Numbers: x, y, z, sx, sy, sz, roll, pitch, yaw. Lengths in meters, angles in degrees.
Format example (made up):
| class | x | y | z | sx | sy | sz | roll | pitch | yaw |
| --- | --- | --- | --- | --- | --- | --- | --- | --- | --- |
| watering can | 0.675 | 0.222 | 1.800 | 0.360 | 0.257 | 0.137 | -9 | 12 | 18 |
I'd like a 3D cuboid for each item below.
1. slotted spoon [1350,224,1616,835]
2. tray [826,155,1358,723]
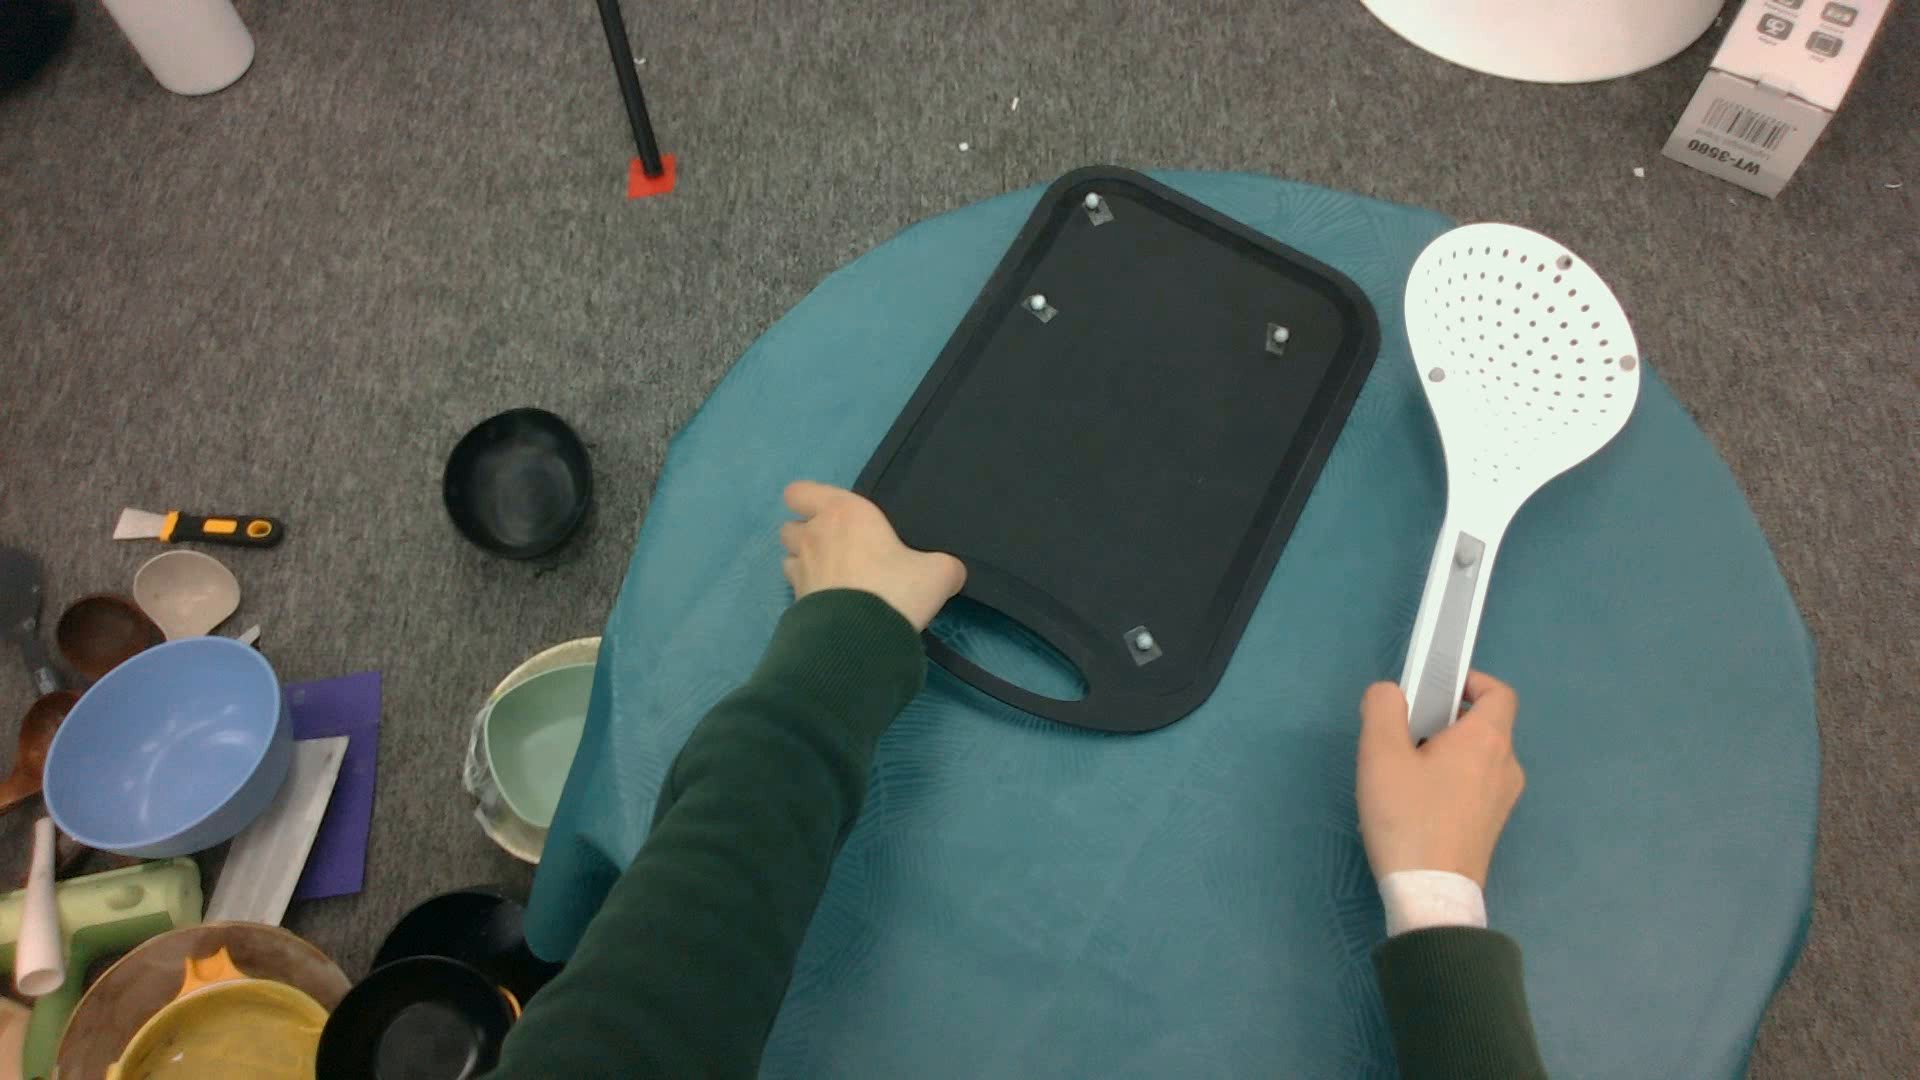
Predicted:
| class | x | y | z | sx | sy | sz | roll | pitch | yaw |
| --- | --- | --- | --- | --- | --- | --- | --- | --- | --- |
| slotted spoon | 0.248 | -0.017 | 0.688 | 0.136 | 0.045 | 0.351 | 26 | 59 | -5 |
| tray | 0.075 | -0.062 | 0.729 | 0.211 | 0.010 | 0.327 | 29 | 66 | 4 |
